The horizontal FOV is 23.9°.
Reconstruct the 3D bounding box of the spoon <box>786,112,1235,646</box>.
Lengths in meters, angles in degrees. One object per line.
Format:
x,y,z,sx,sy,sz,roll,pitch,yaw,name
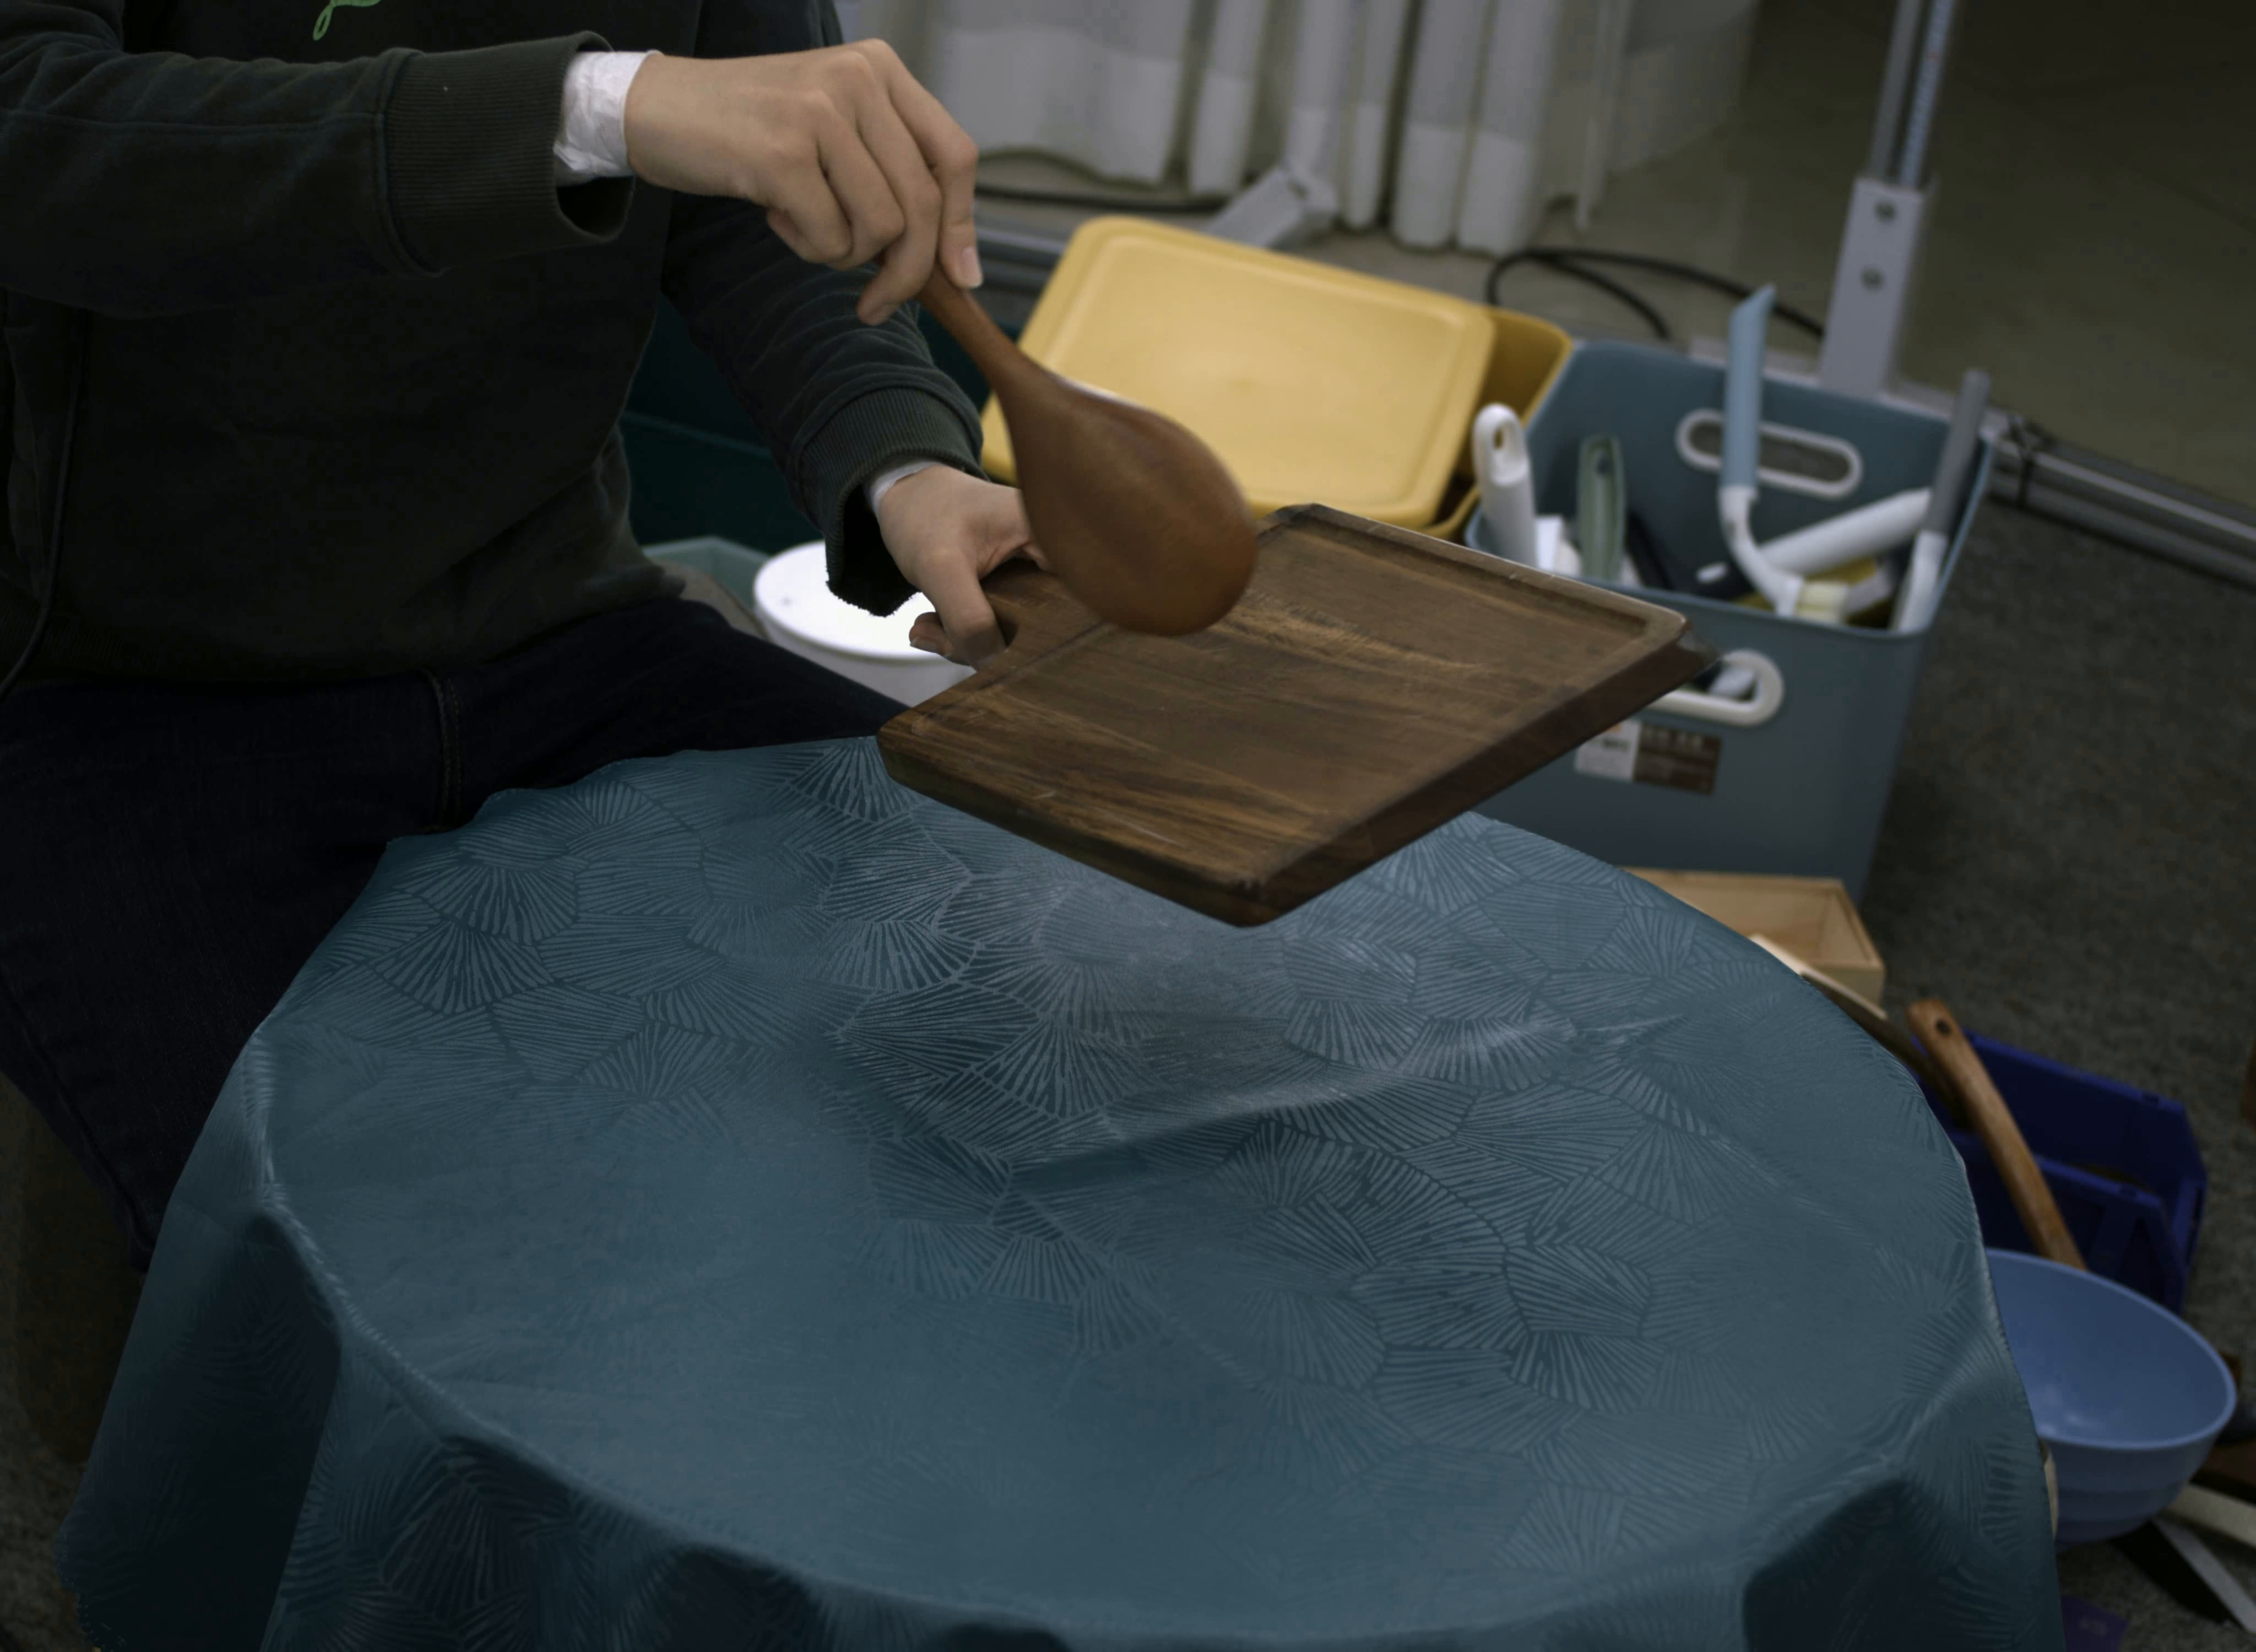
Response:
-0.043,-0.148,1.782,0.215,0.075,0.017,53,30,-9,spoon

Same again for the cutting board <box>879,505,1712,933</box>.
0.028,-0.052,1.867,0.200,0.023,0.354,-30,25,-22,cutting board
